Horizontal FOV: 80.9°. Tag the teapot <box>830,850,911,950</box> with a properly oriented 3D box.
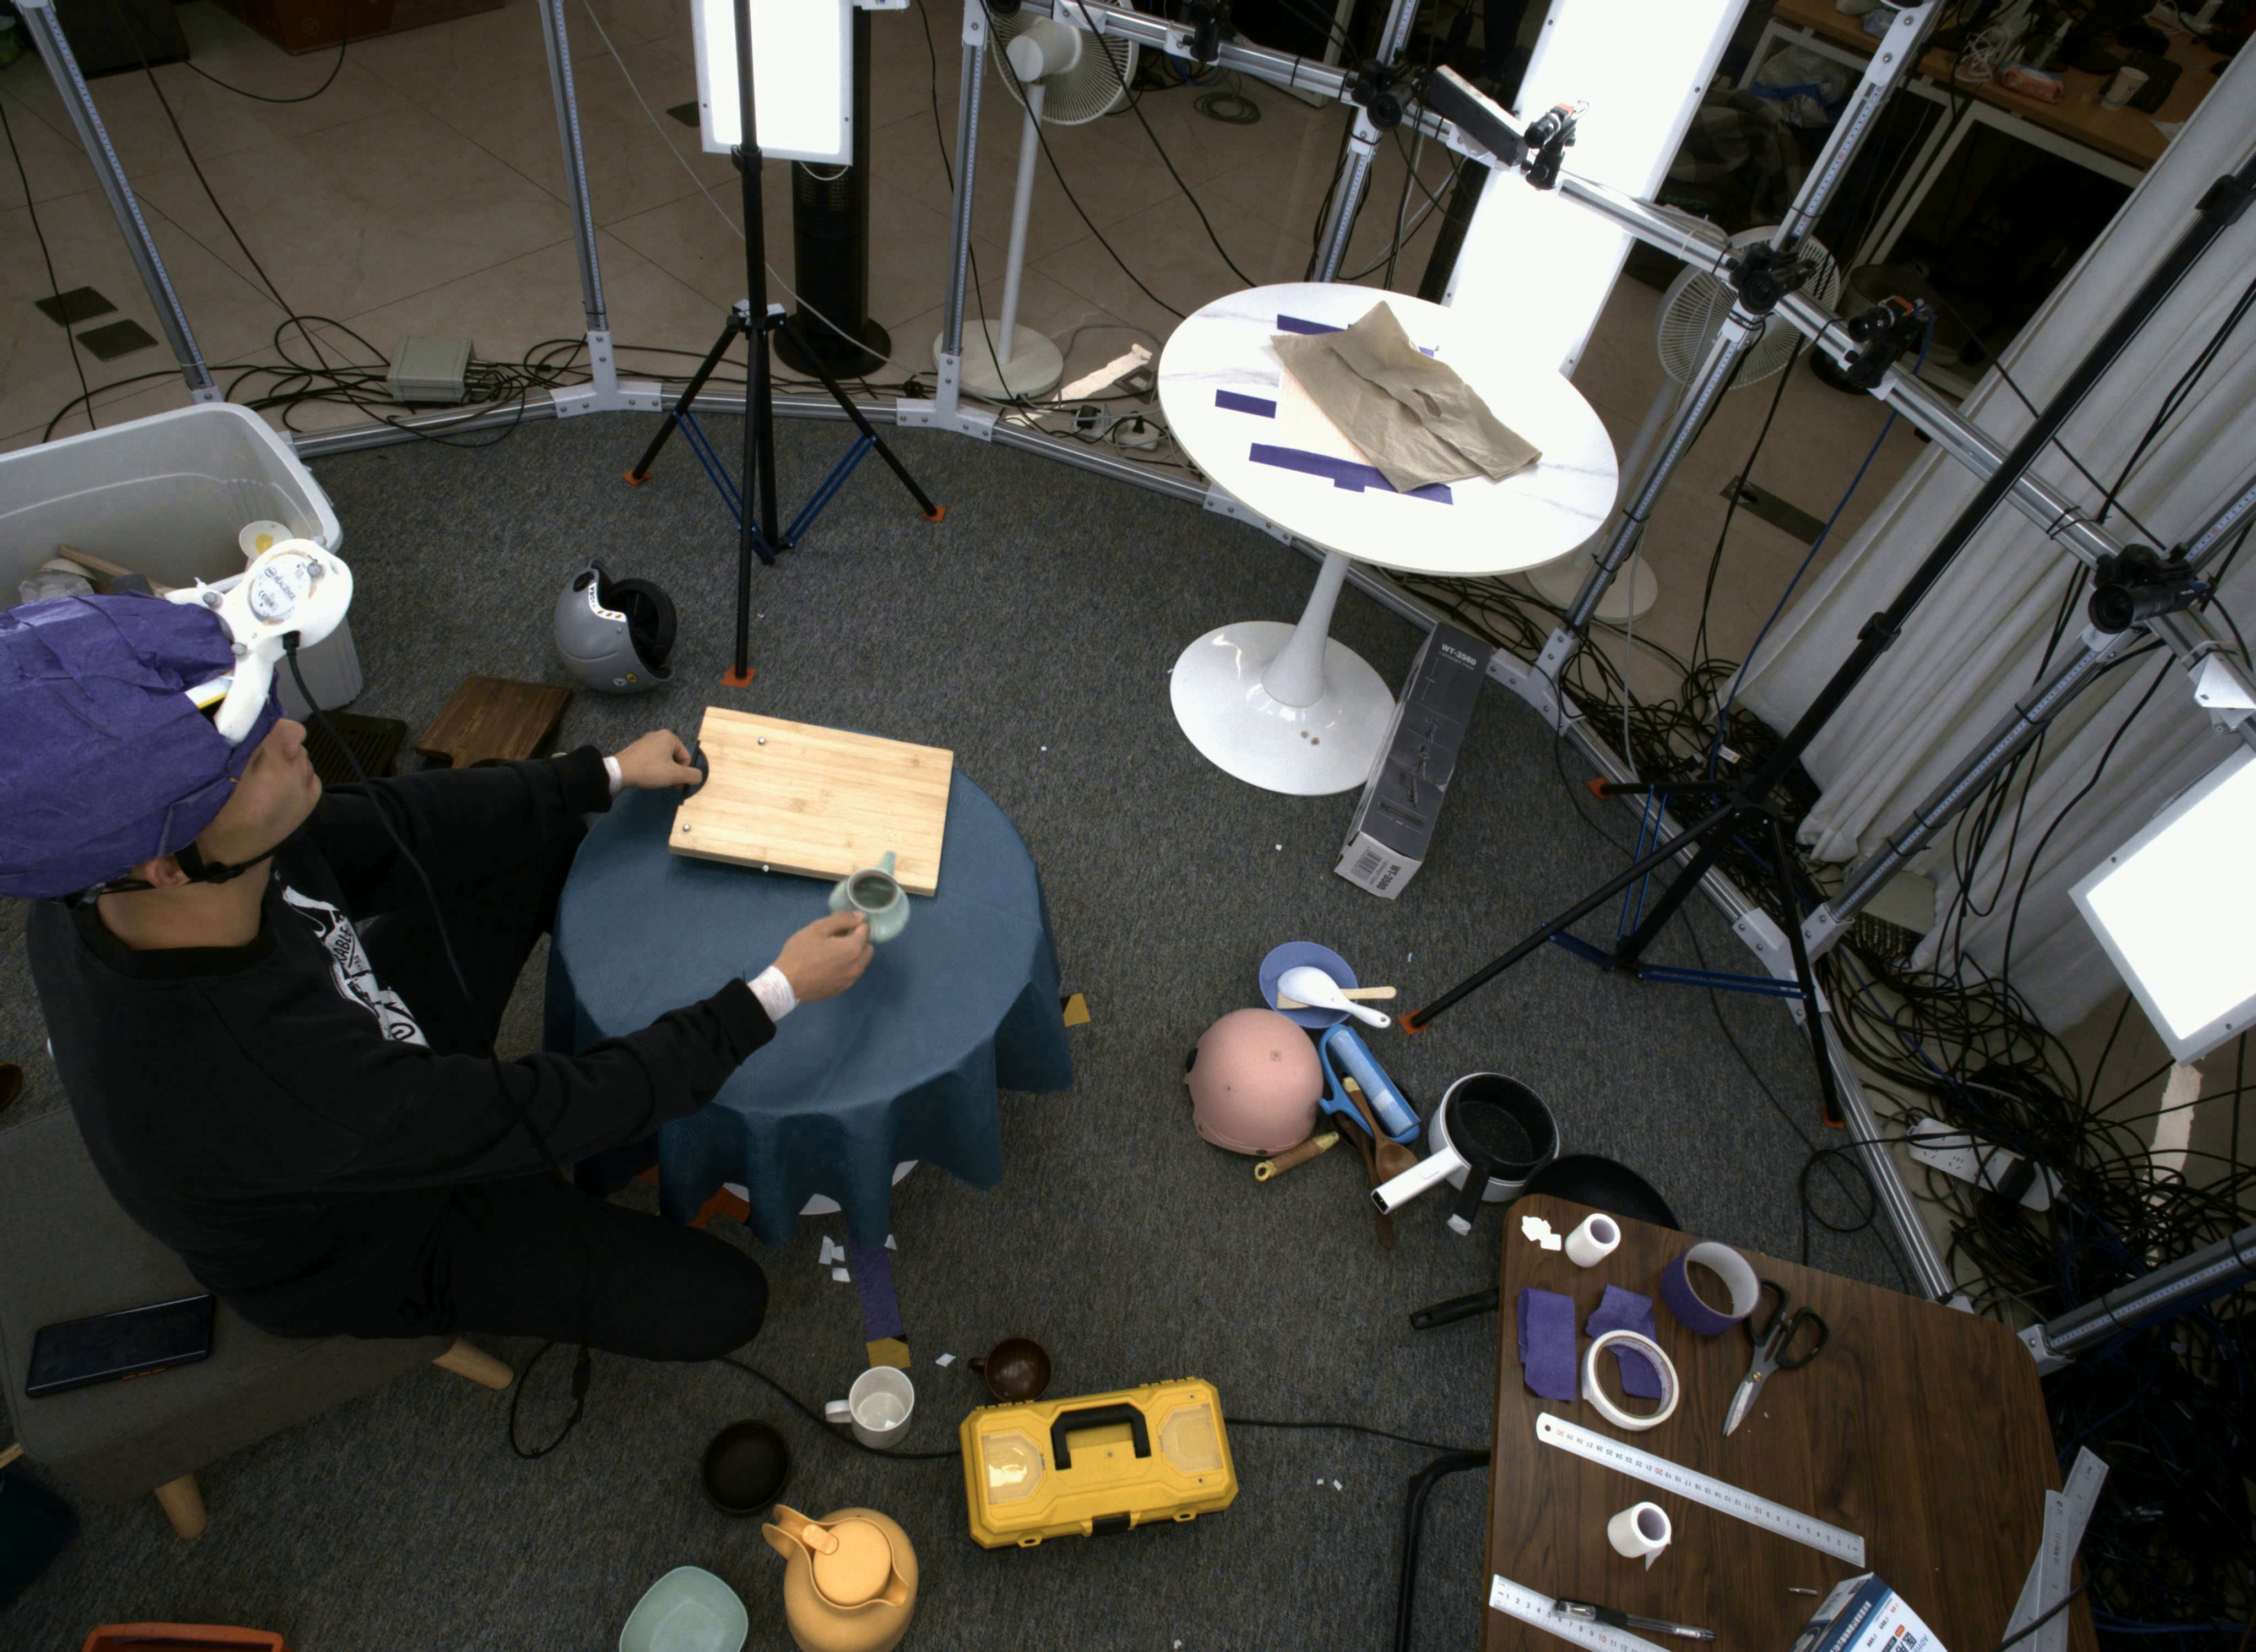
[{"bbox_3d":[-0.306,0.095,1.548,0.096,0.062,0.135,23,49,-5],"label":"teapot"}]

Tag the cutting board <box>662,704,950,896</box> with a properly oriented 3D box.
[{"bbox_3d":[-0.418,-0.037,1.721,0.350,0.024,0.246,9,52,-14],"label":"cutting board"}]
